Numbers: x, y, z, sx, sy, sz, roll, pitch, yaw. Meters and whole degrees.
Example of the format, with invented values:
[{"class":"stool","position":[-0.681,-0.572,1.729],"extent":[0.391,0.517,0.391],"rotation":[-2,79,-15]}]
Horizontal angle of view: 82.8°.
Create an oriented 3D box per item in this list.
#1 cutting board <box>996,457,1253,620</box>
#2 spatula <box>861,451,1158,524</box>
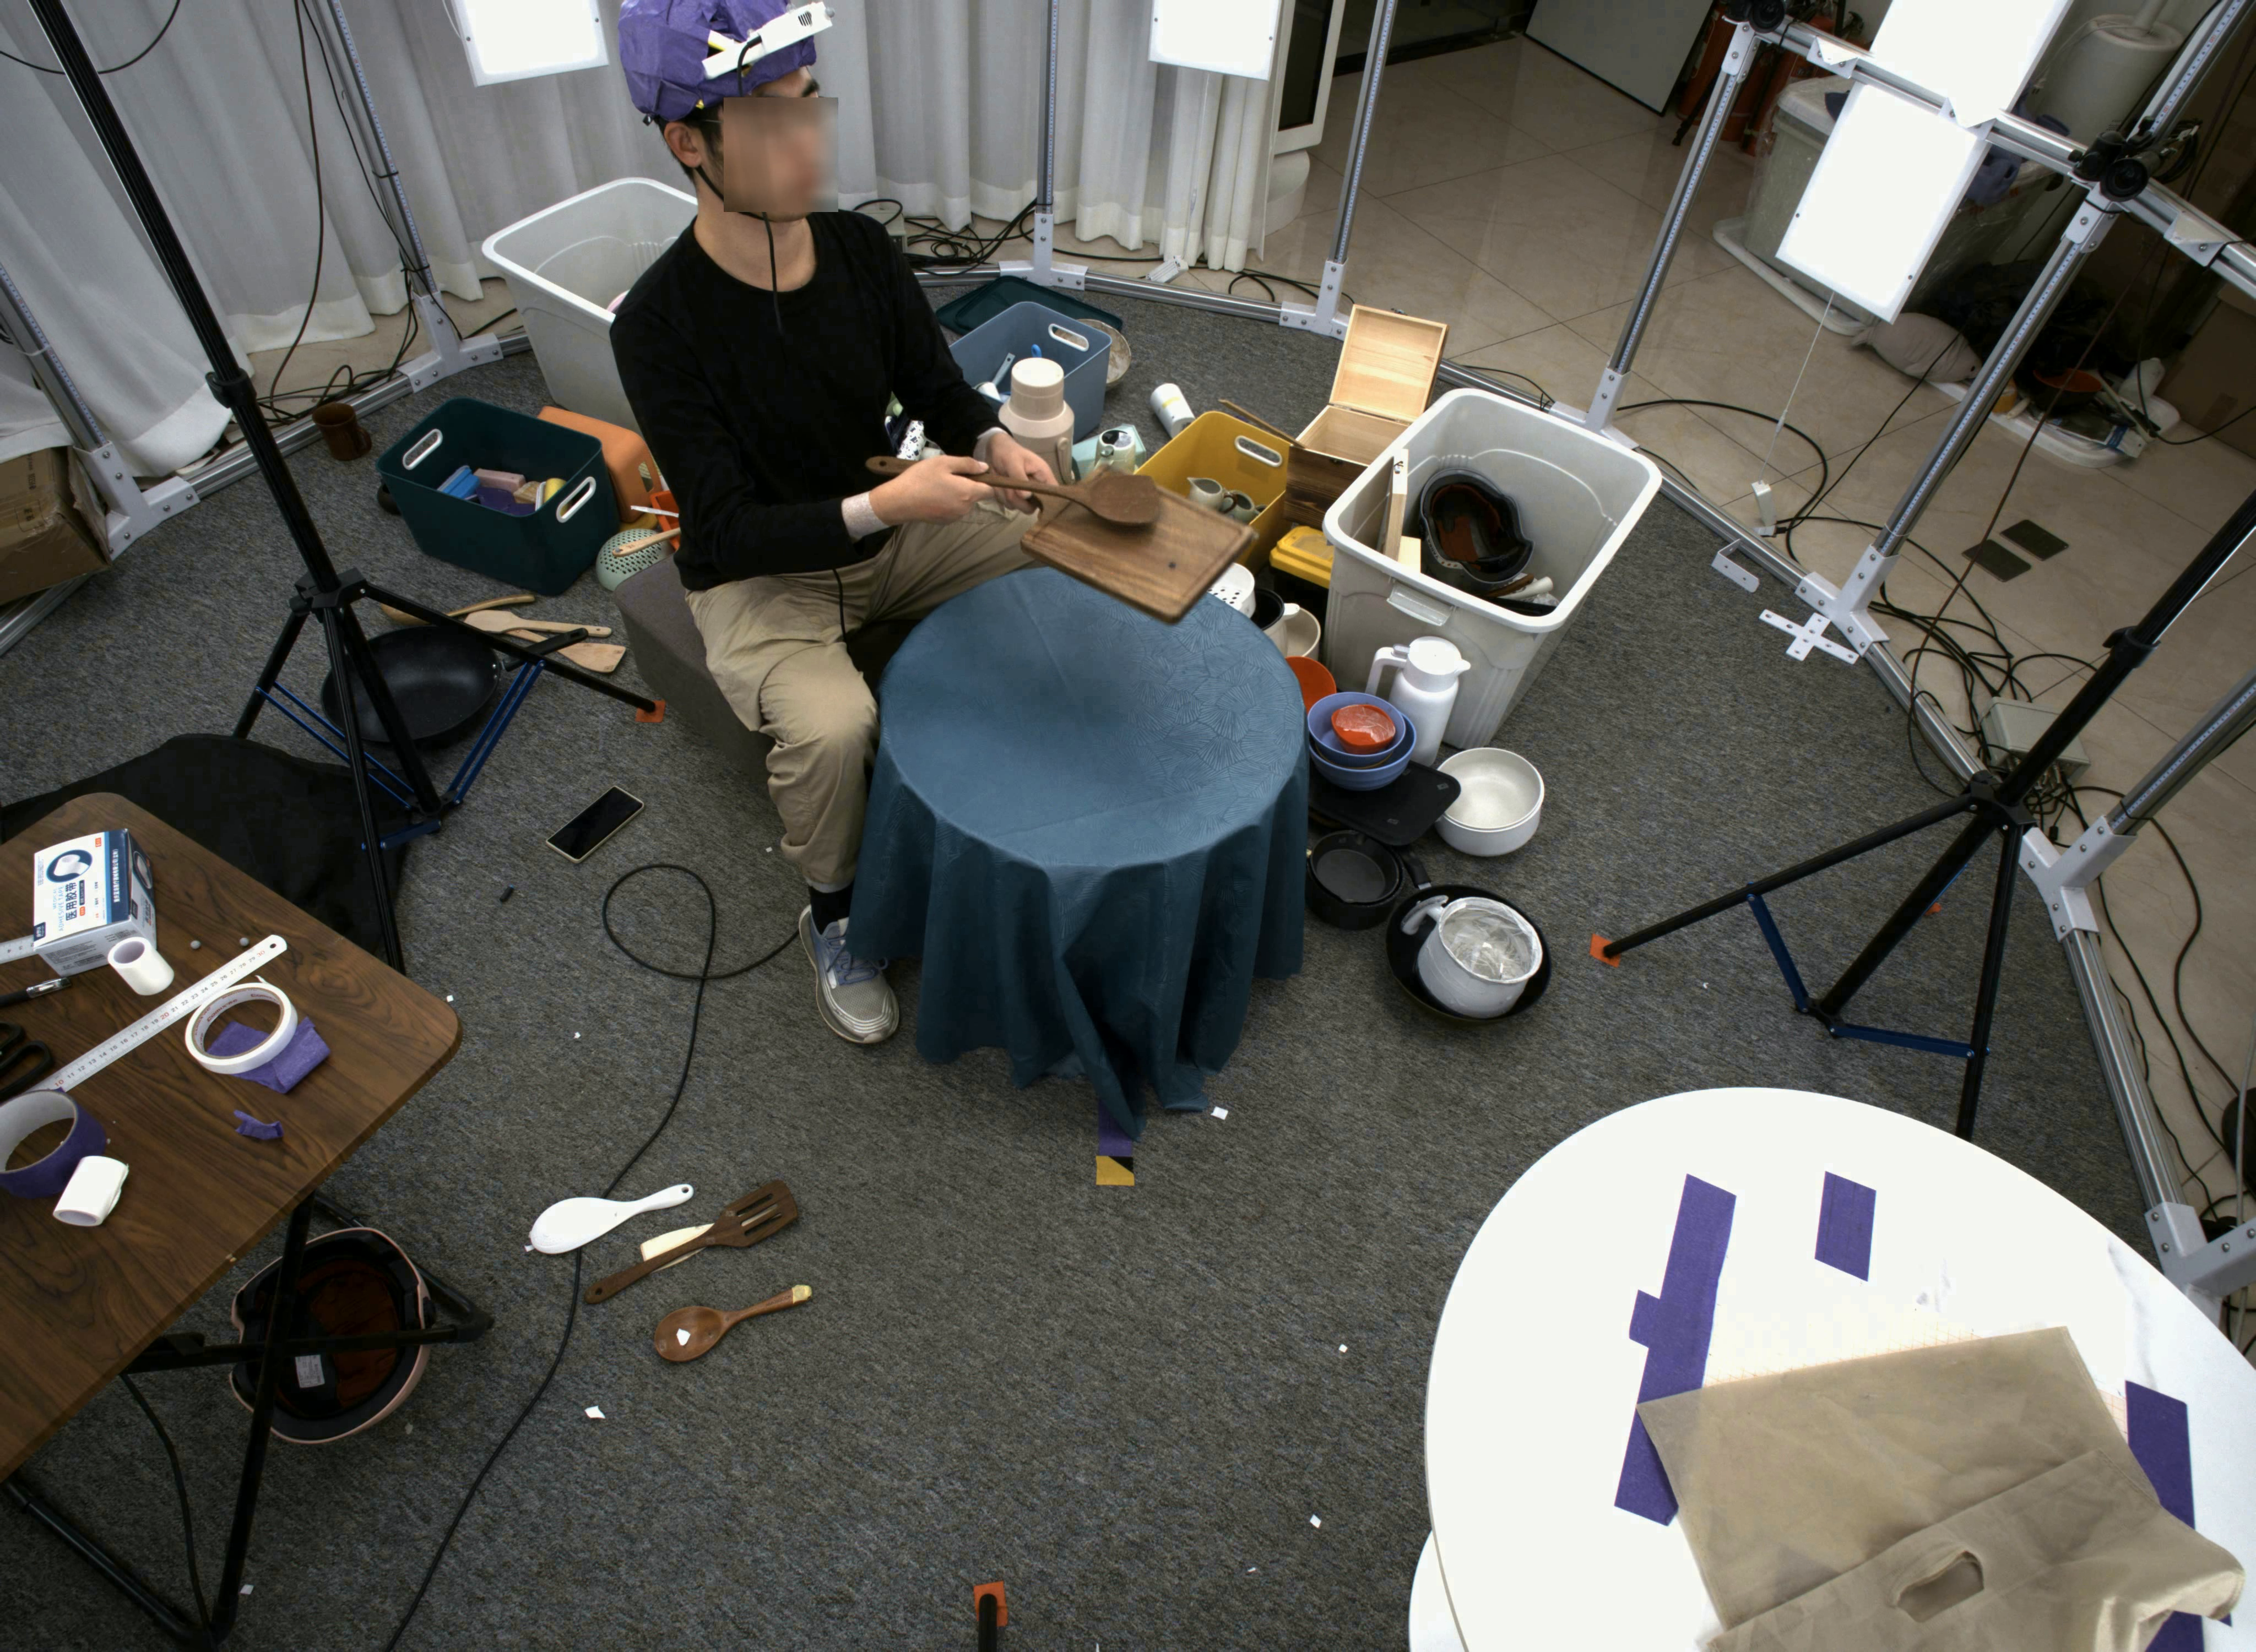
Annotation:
[{"class":"cutting board","position":[-0.030,-0.406,1.715],"extent":[0.356,0.022,0.204],"rotation":[28,60,21]},{"class":"spatula","position":[-0.151,-0.450,1.687],"extent":[0.385,0.015,0.098],"rotation":[6,55,-6]}]
